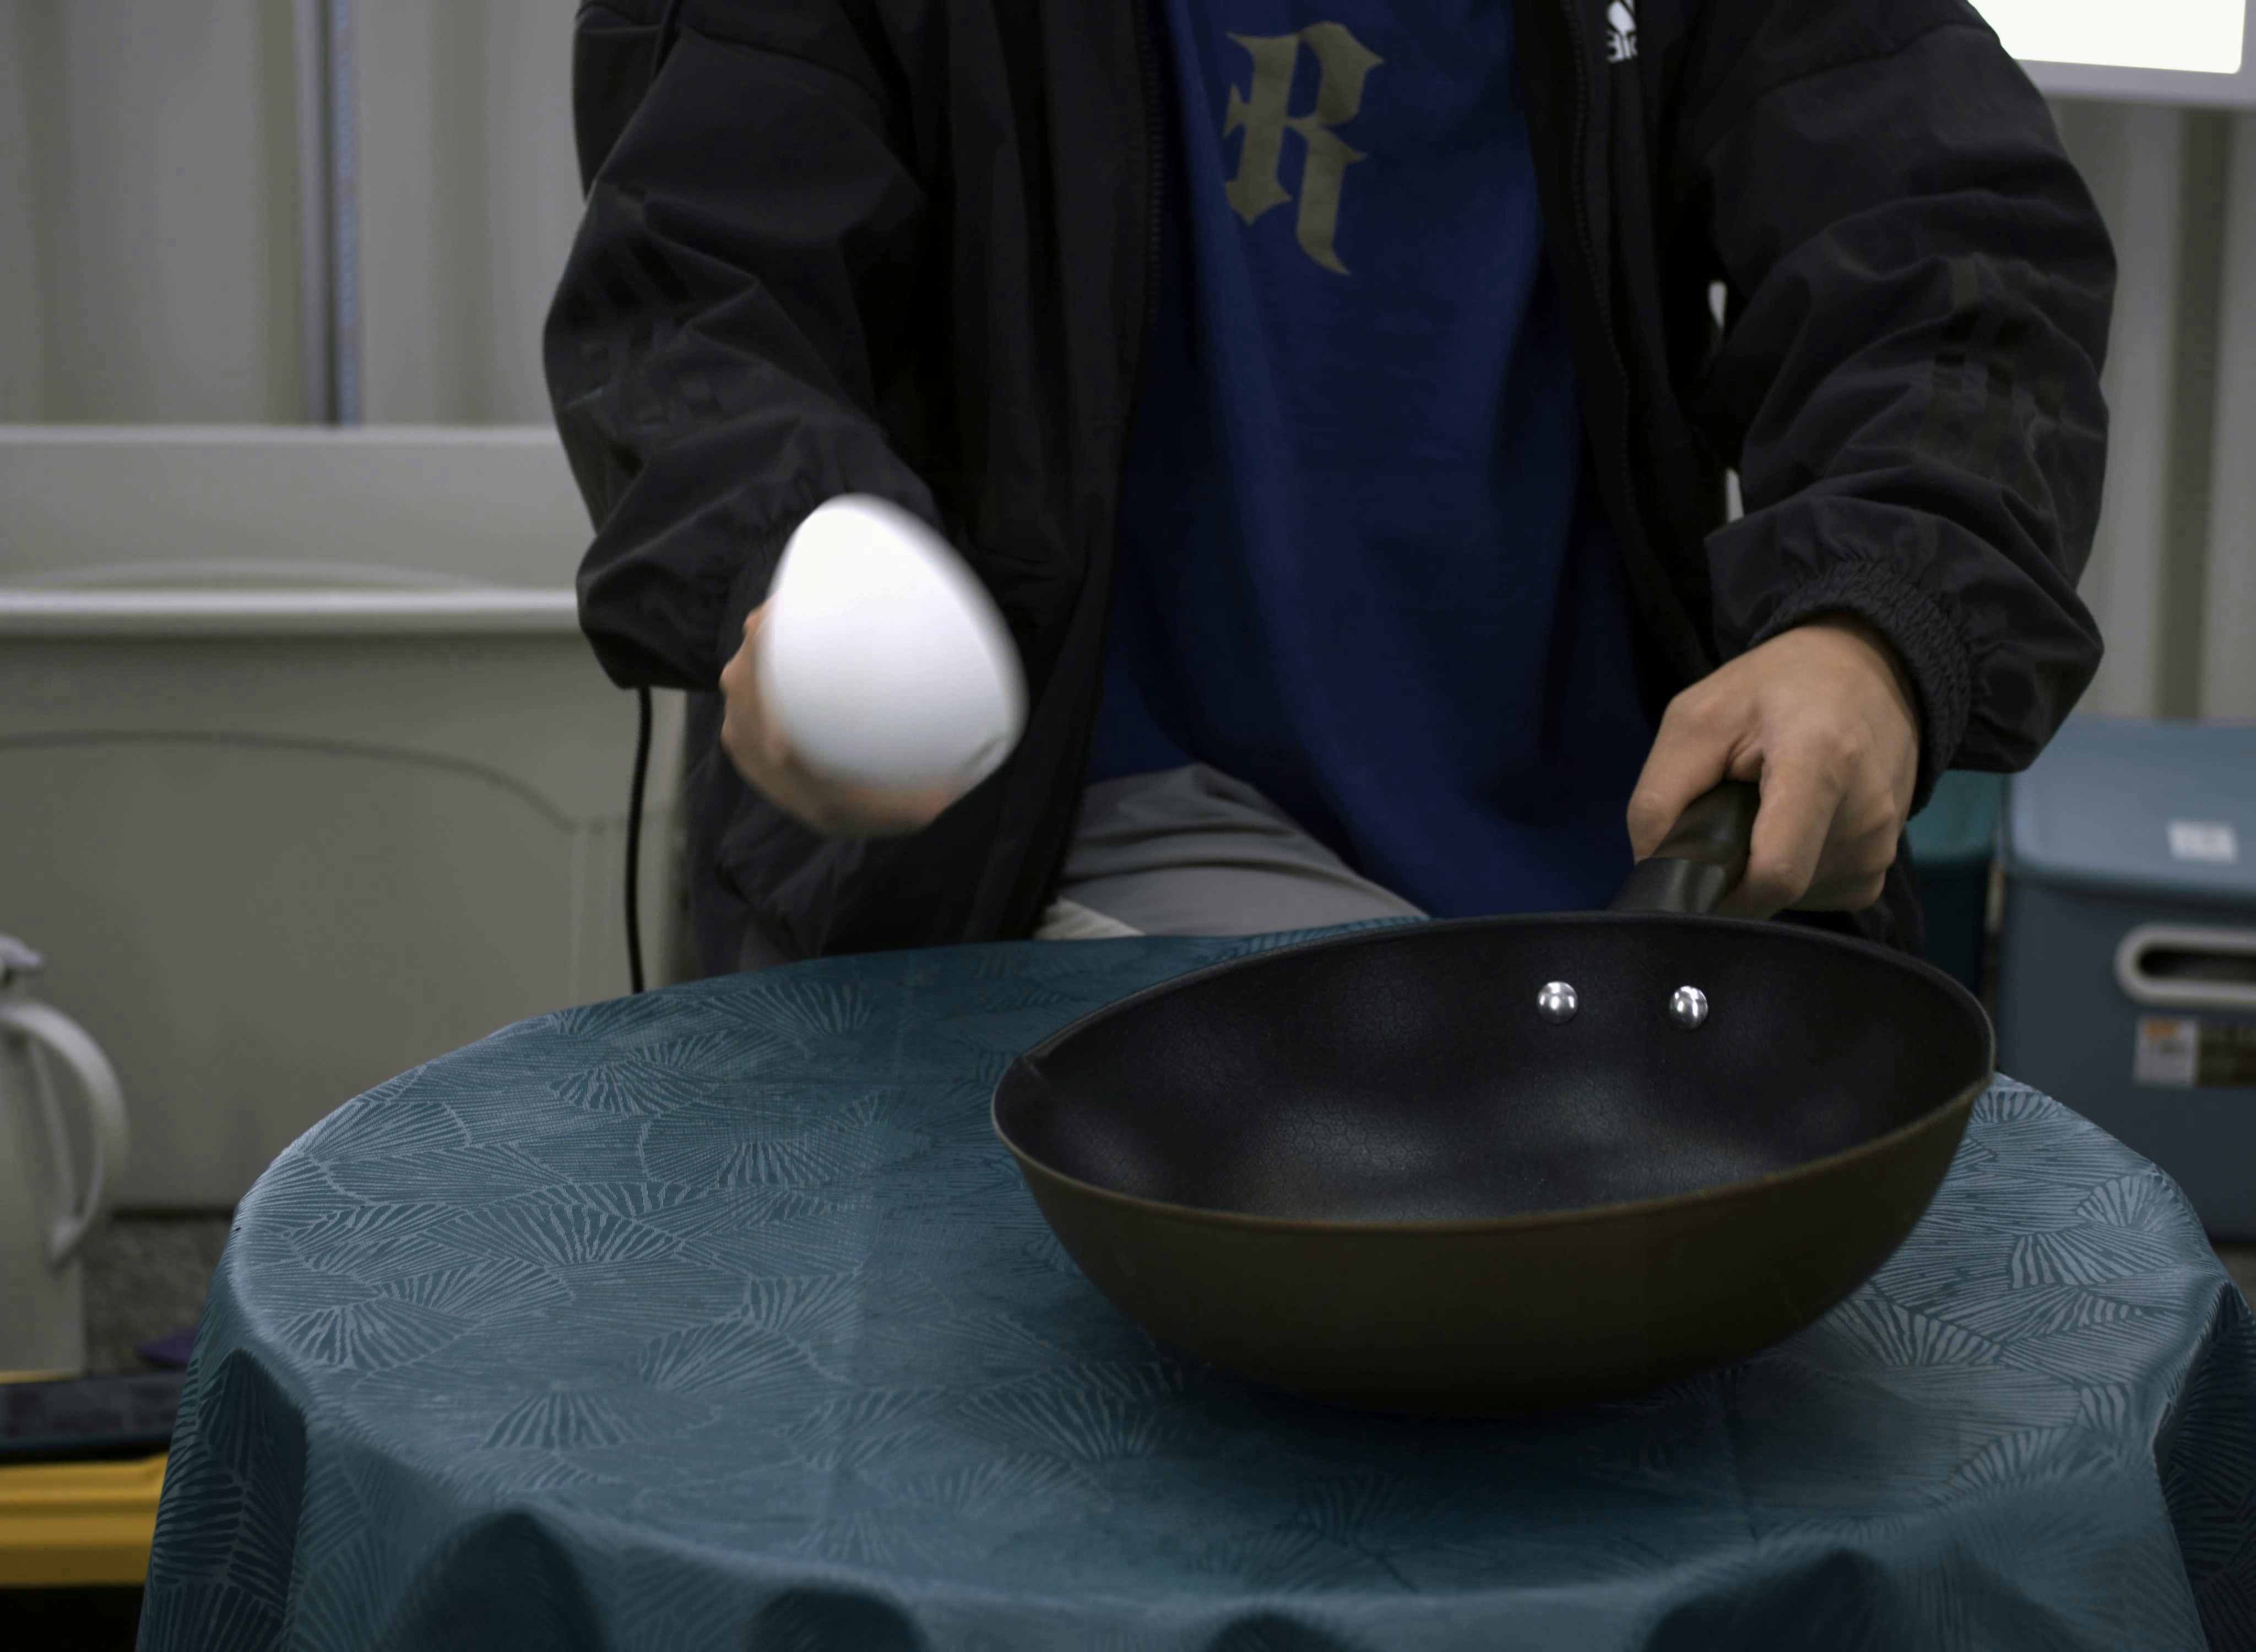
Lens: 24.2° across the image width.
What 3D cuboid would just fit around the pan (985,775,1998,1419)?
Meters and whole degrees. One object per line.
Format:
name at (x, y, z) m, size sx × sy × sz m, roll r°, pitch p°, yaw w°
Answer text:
pan at (0.137, 0.078, 1.565) m, size 0.285 × 0.087 × 0.464 m, roll 2°, pitch 16°, yaw 22°

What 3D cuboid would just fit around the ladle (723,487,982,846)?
ladle at (-0.079, -0.038, 1.605) m, size 0.090 × 0.070 × 0.294 m, roll 47°, pitch -3°, yaw 6°
